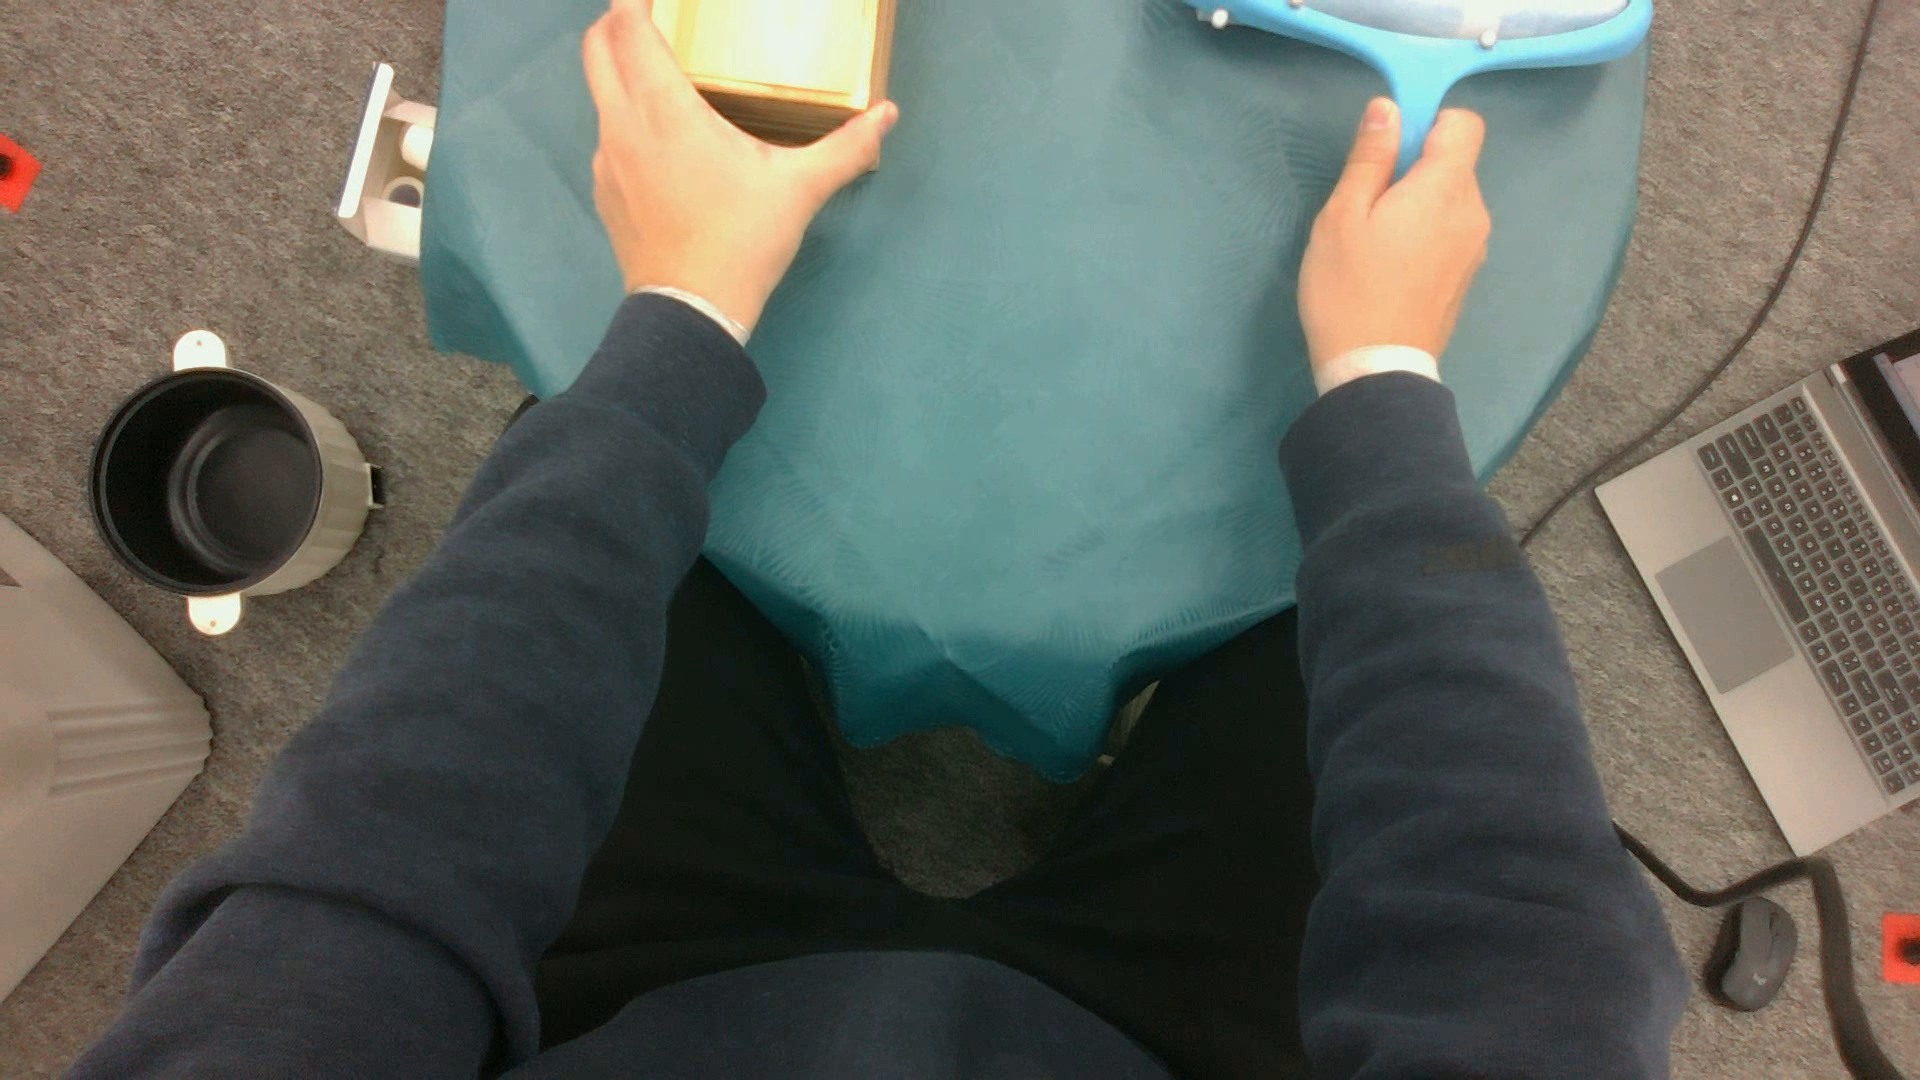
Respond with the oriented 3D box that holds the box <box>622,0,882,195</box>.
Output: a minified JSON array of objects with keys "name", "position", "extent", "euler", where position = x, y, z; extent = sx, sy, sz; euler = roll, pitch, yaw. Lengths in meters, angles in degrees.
[{"name":"box","position":[-0.092,-0.284,0.667],"extent":[0.107,0.080,0.211],"euler":[3,85,1]}]

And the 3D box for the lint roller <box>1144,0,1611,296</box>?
[{"name":"lint roller","position":[0.199,-0.213,0.662],"extent":[0.229,0.068,0.180],"euler":[3,77,-2]}]
